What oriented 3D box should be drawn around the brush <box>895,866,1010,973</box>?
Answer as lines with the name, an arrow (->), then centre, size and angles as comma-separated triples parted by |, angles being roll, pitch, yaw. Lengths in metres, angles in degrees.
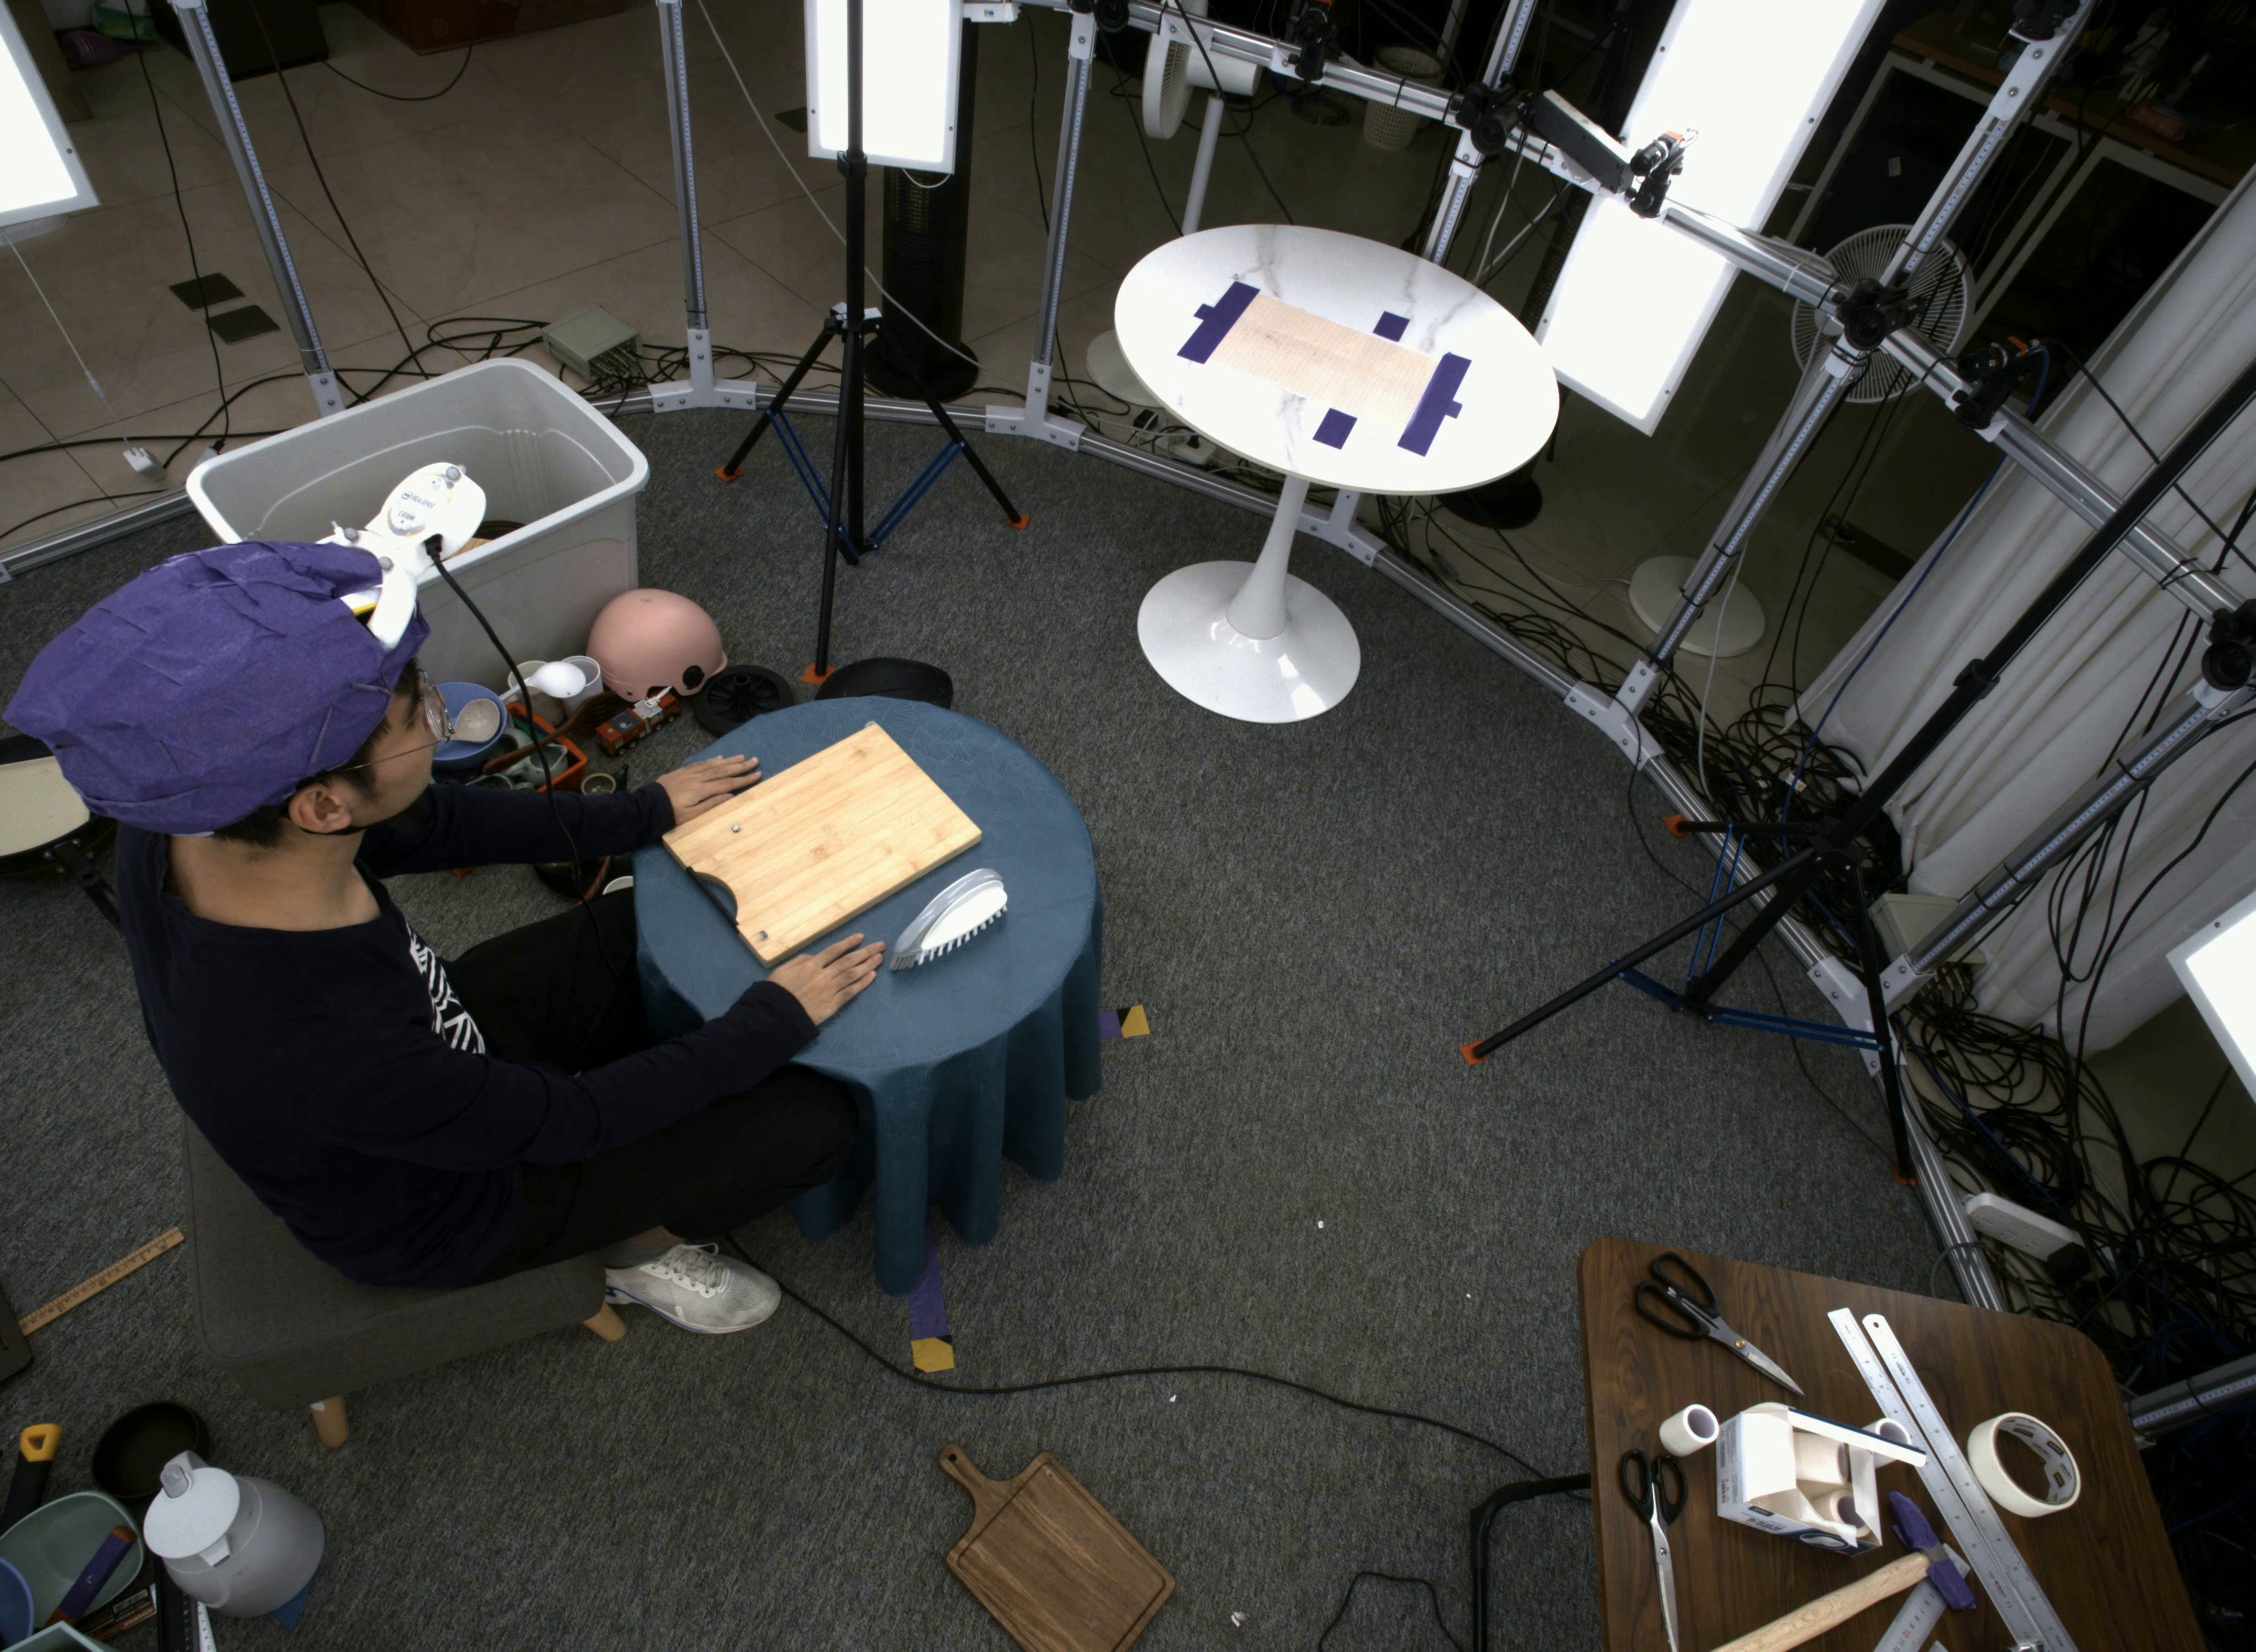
brush -> -0.225, 0.111, 1.634 | 0.060, 0.096, 0.176 | 42, 58, 20

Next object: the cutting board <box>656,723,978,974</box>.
cutting board -> -0.403, 0.018, 1.707 | 0.349, 0.024, 0.245 | -34, 68, -32
